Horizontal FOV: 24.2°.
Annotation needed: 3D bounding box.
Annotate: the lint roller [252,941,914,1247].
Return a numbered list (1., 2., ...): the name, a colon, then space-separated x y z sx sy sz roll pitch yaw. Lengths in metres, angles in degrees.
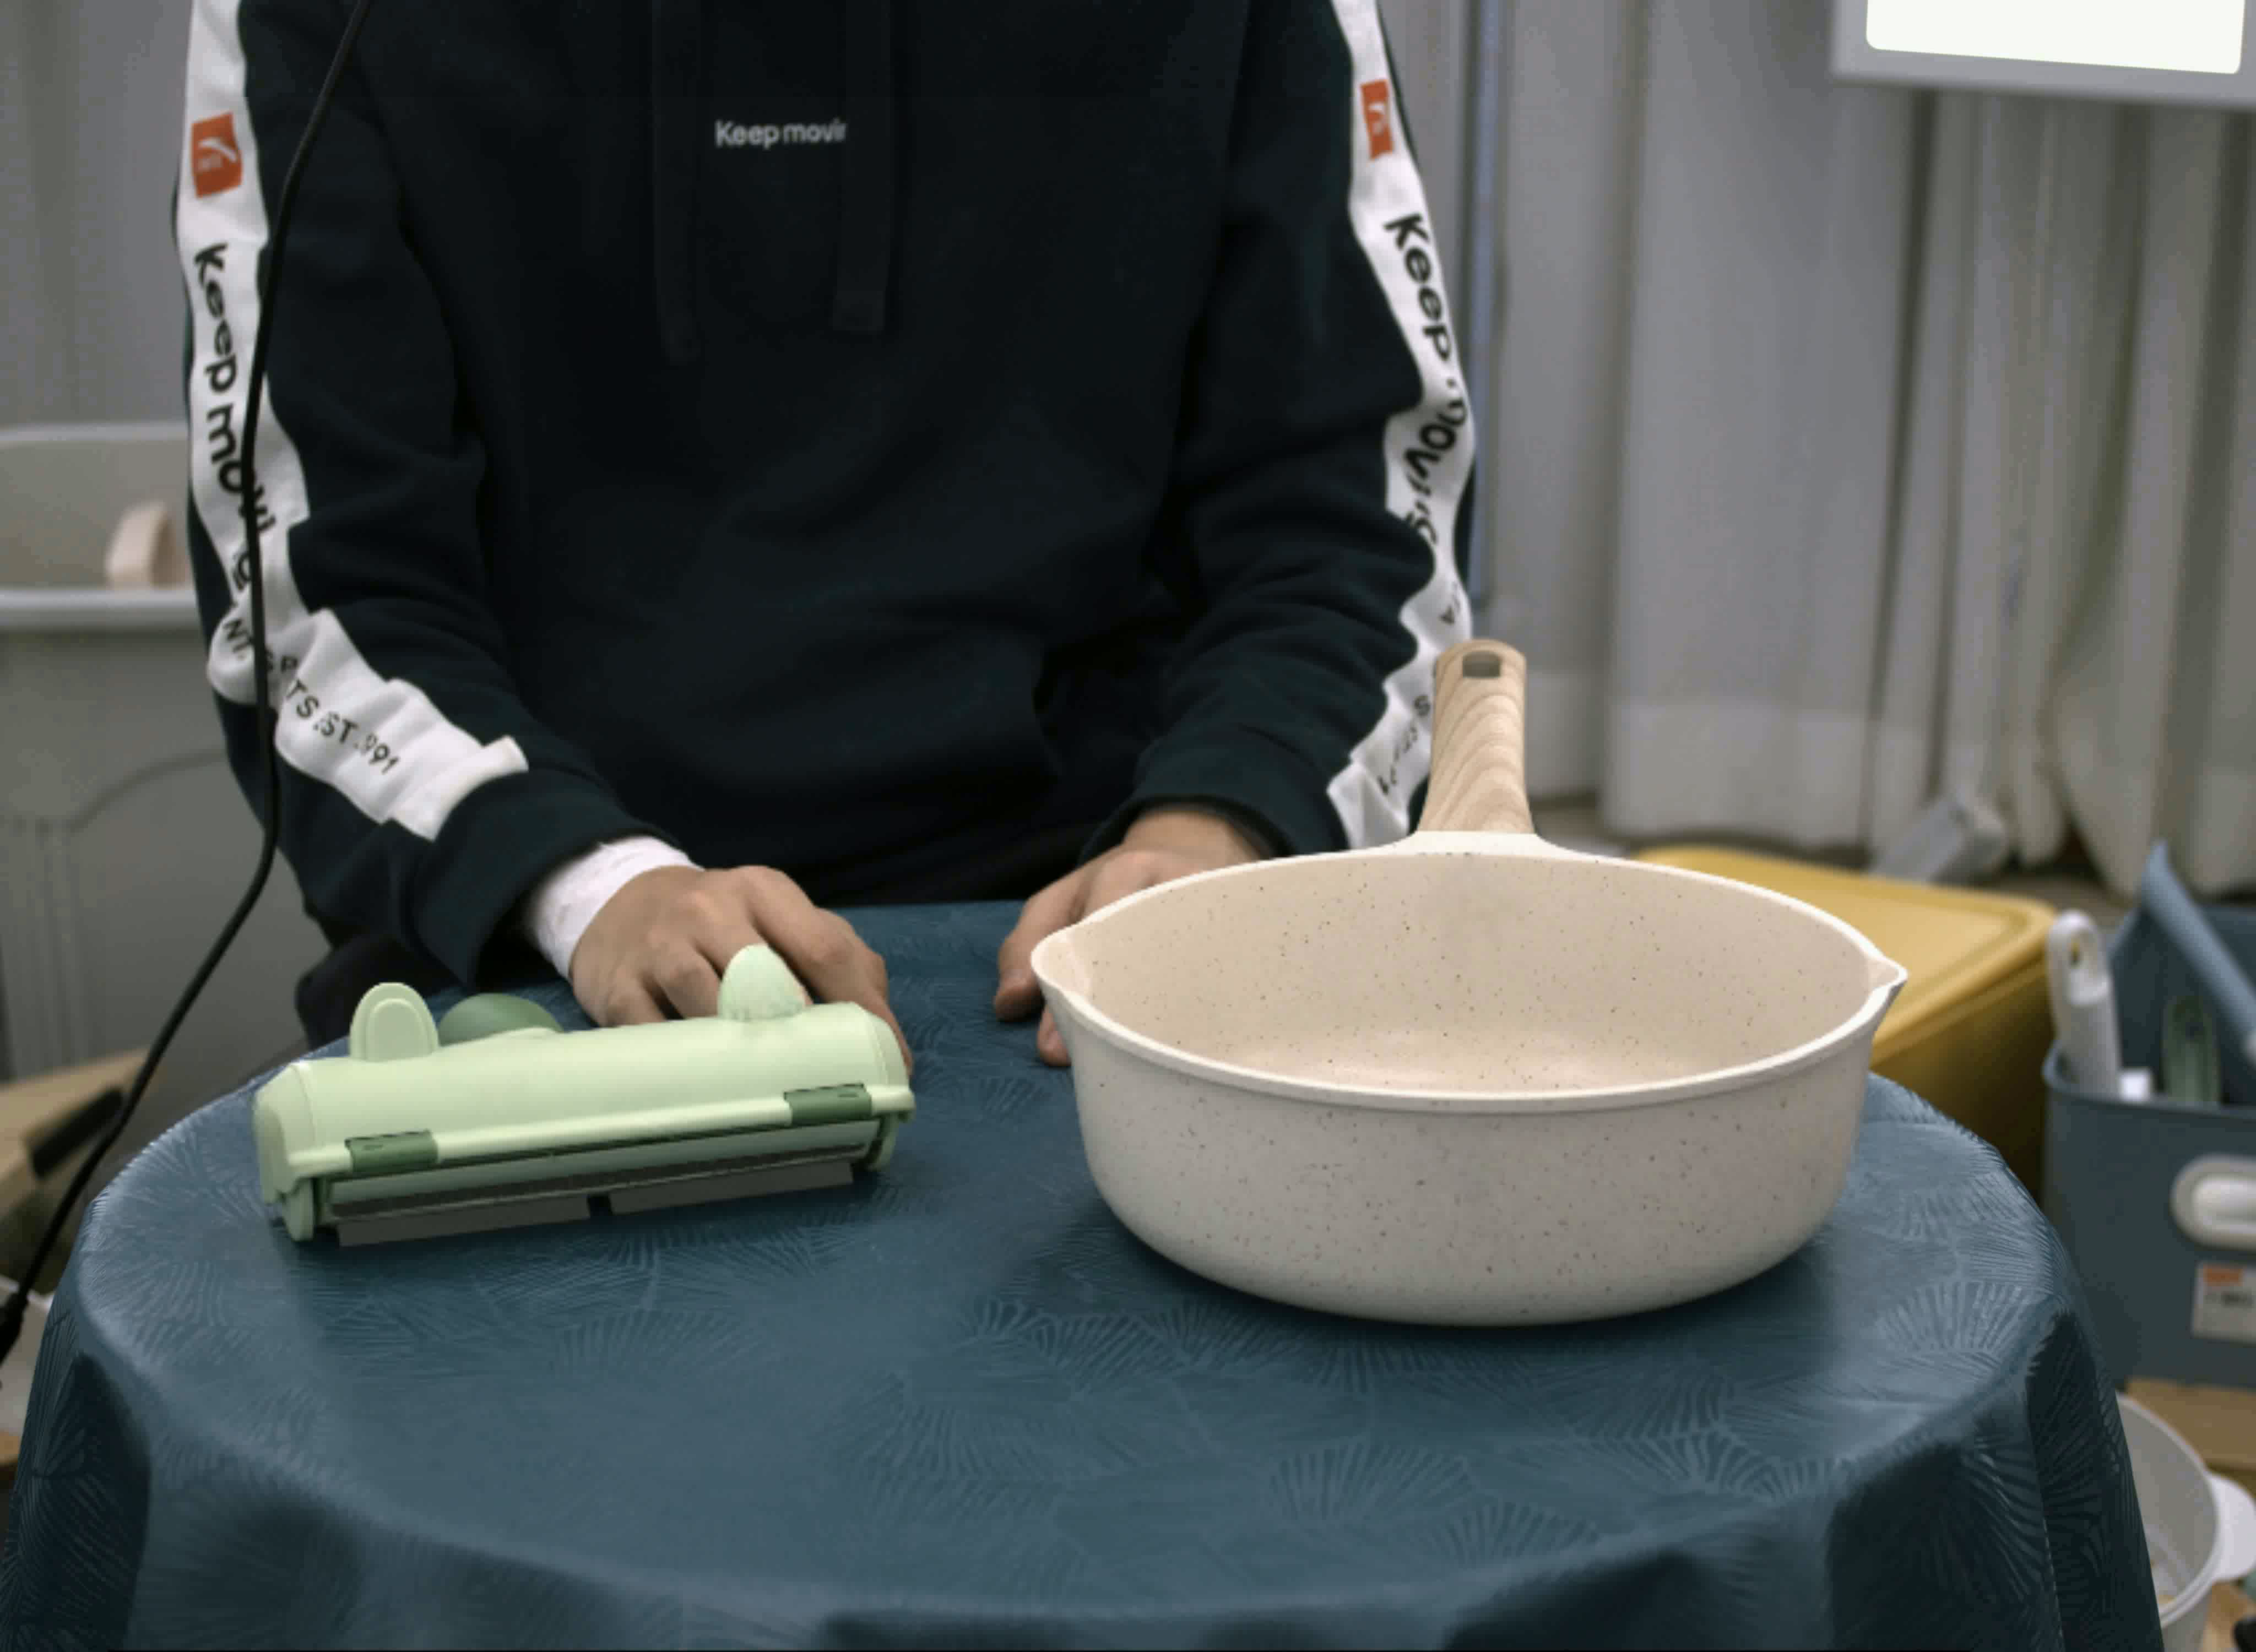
1. lint roller: -0.185 0.064 1.645 0.199 0.083 0.181 -6 22 -20

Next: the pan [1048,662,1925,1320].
1. pan: 0.113 0.048 1.672 0.262 0.103 0.433 0 15 3
